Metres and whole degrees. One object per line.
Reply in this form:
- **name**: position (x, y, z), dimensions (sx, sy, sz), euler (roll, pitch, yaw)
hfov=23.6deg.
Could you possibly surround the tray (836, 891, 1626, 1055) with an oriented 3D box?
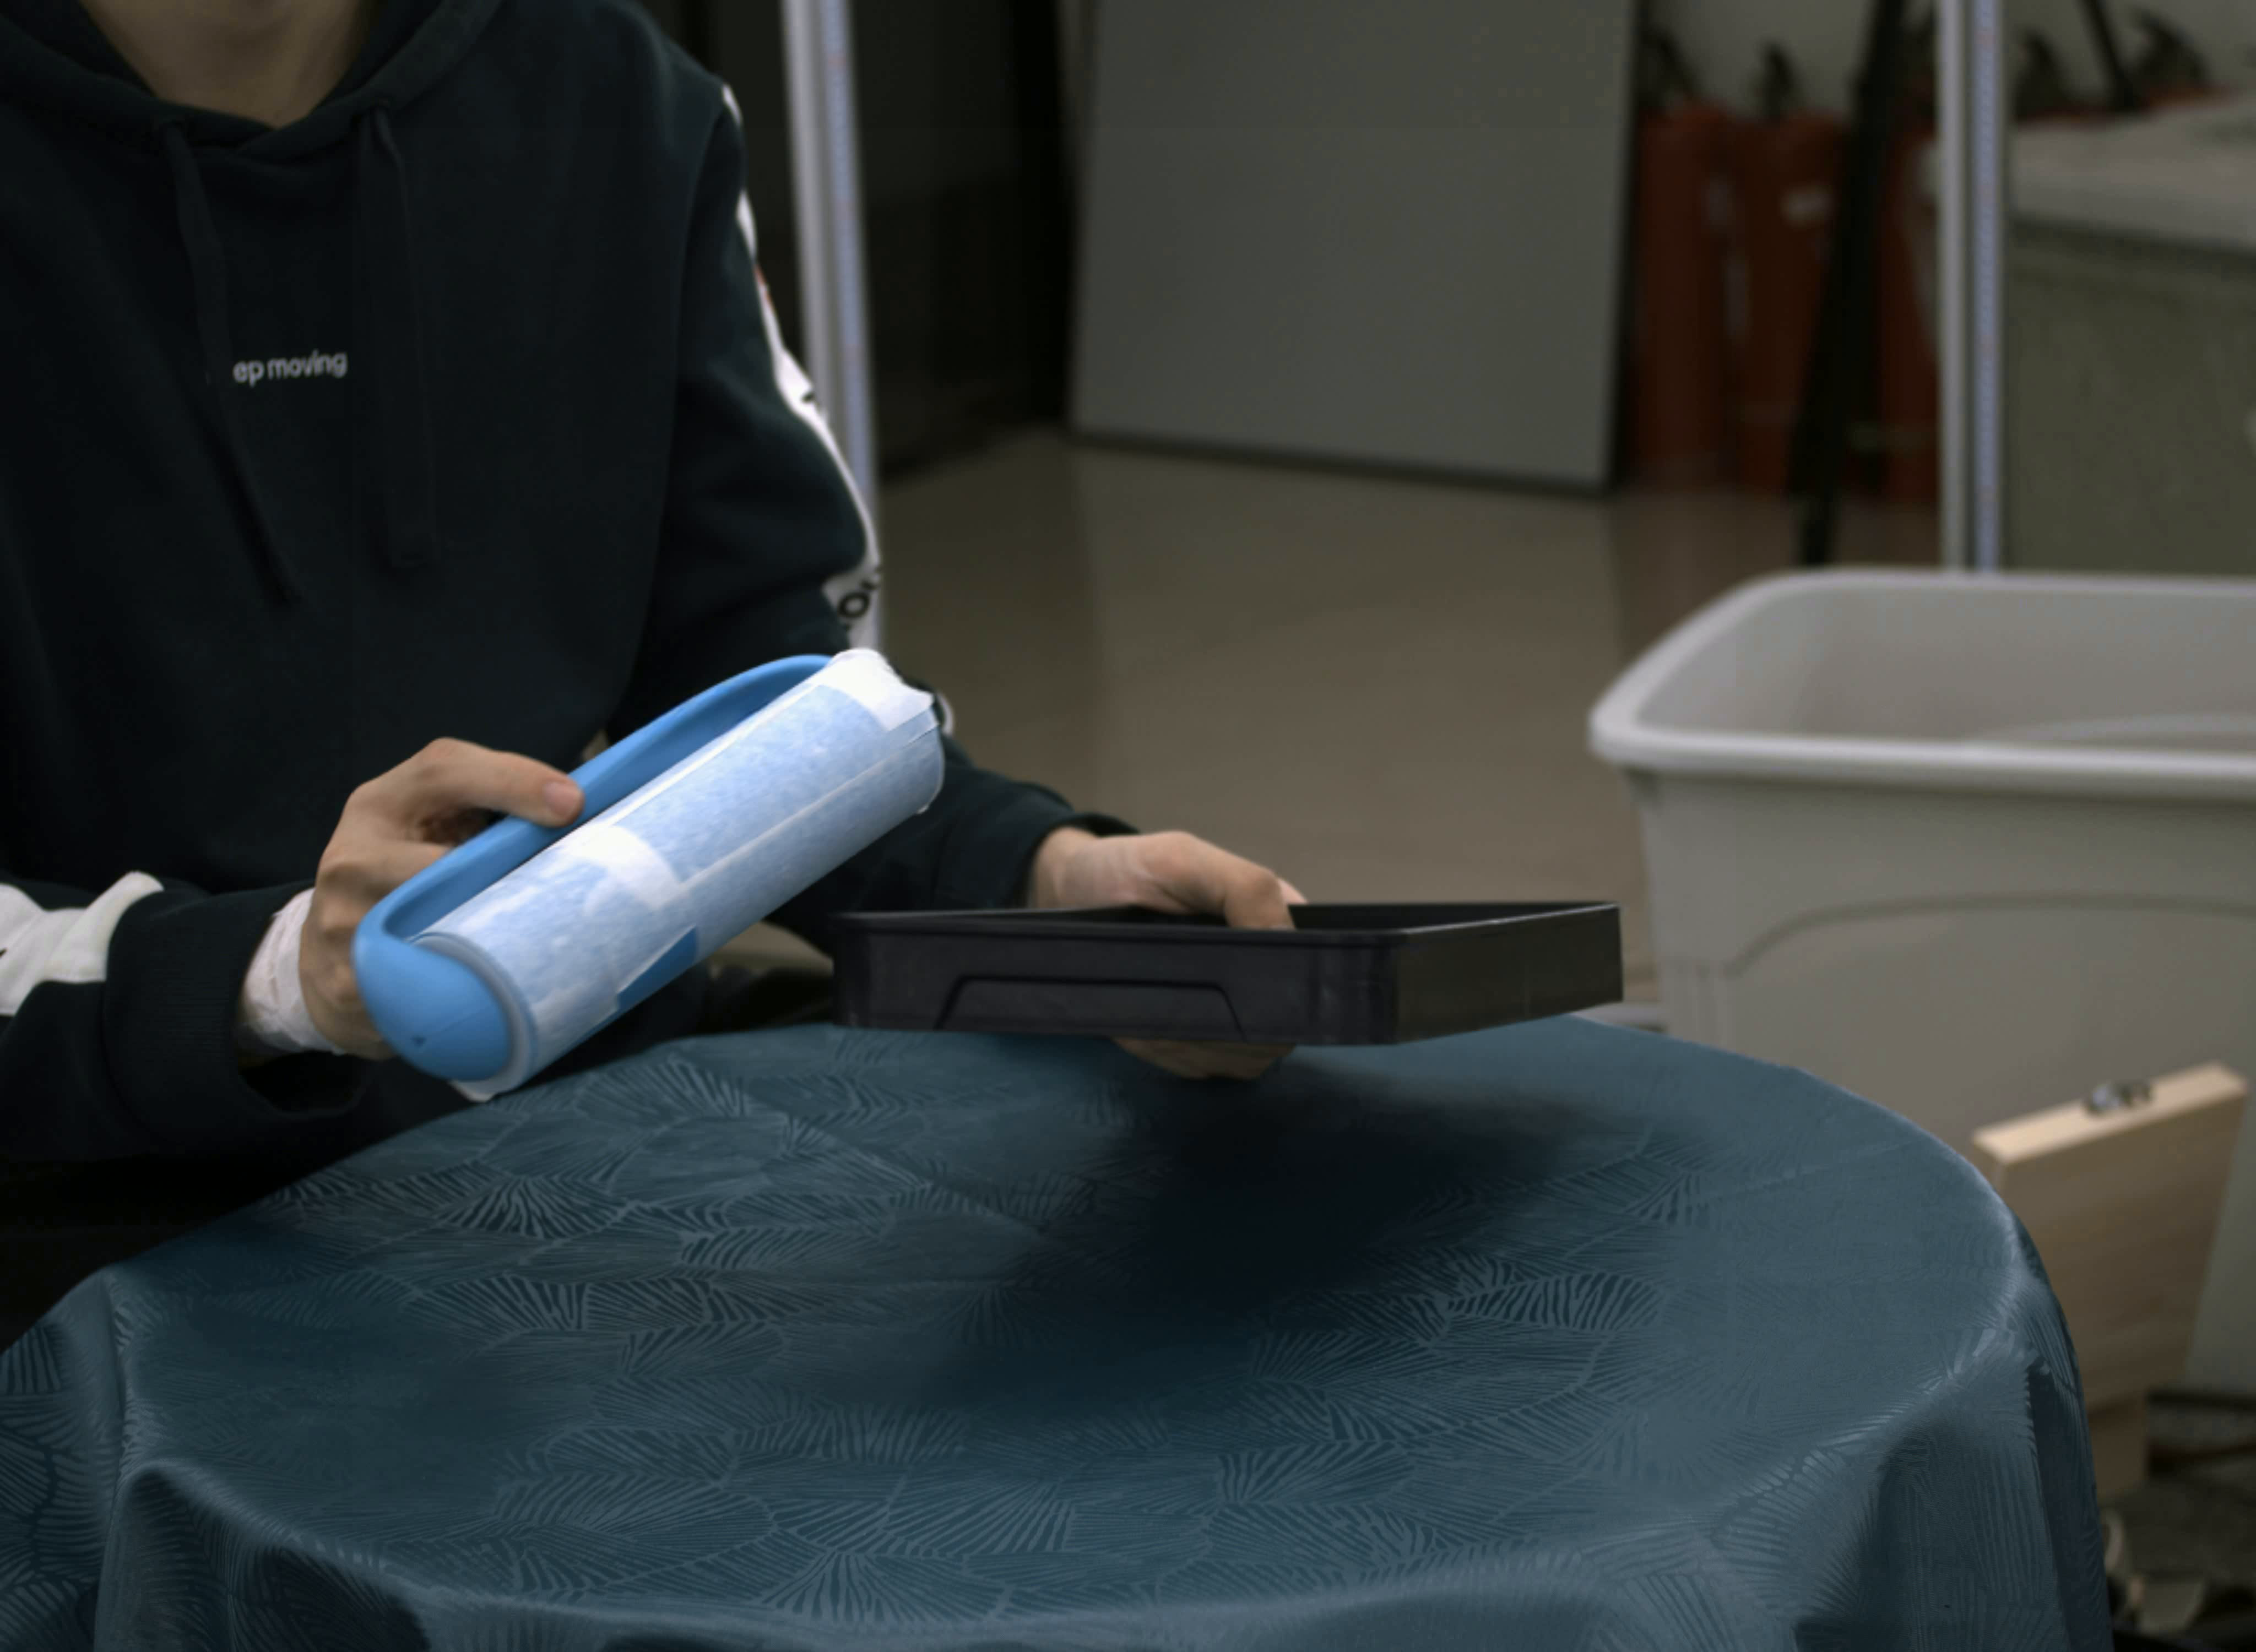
- **tray**: position (0.042, 0.045, 1.721), dimensions (0.184, 0.037, 0.314), euler (-1, 1, 19)

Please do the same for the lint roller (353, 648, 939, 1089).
- **lint roller**: position (-0.175, 0.024, 1.646), dimensions (0.182, 0.068, 0.226), euler (-20, 13, 44)
